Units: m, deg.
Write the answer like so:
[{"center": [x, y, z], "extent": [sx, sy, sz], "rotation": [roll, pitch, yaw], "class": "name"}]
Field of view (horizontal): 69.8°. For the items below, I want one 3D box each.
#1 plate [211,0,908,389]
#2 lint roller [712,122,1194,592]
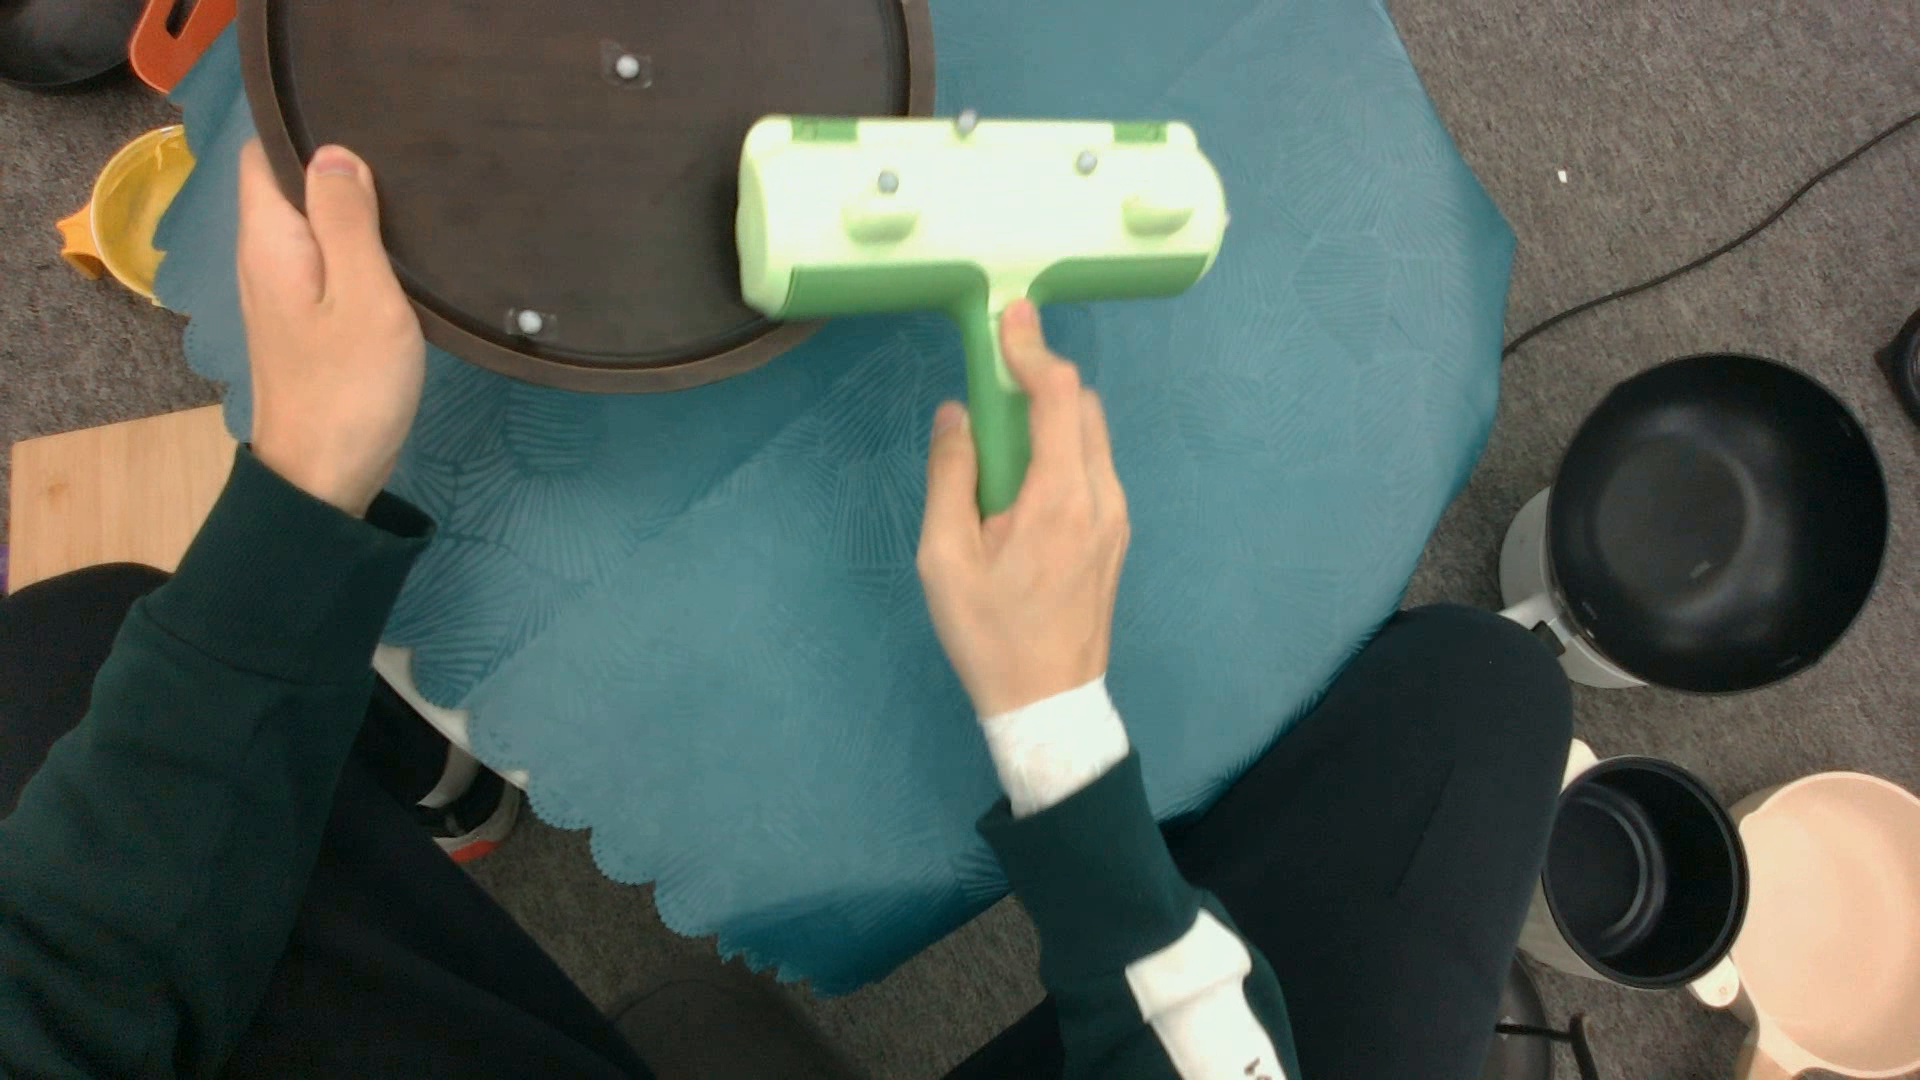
[{"center": [-0.143, -0.185, 0.525], "extent": [0.255, 0.029, 0.254], "rotation": [-2, 96, -20], "class": "plate"}, {"center": [0.015, -0.075, 0.533], "extent": [0.199, 0.082, 0.183], "rotation": [-9, 81, -25], "class": "lint roller"}]
